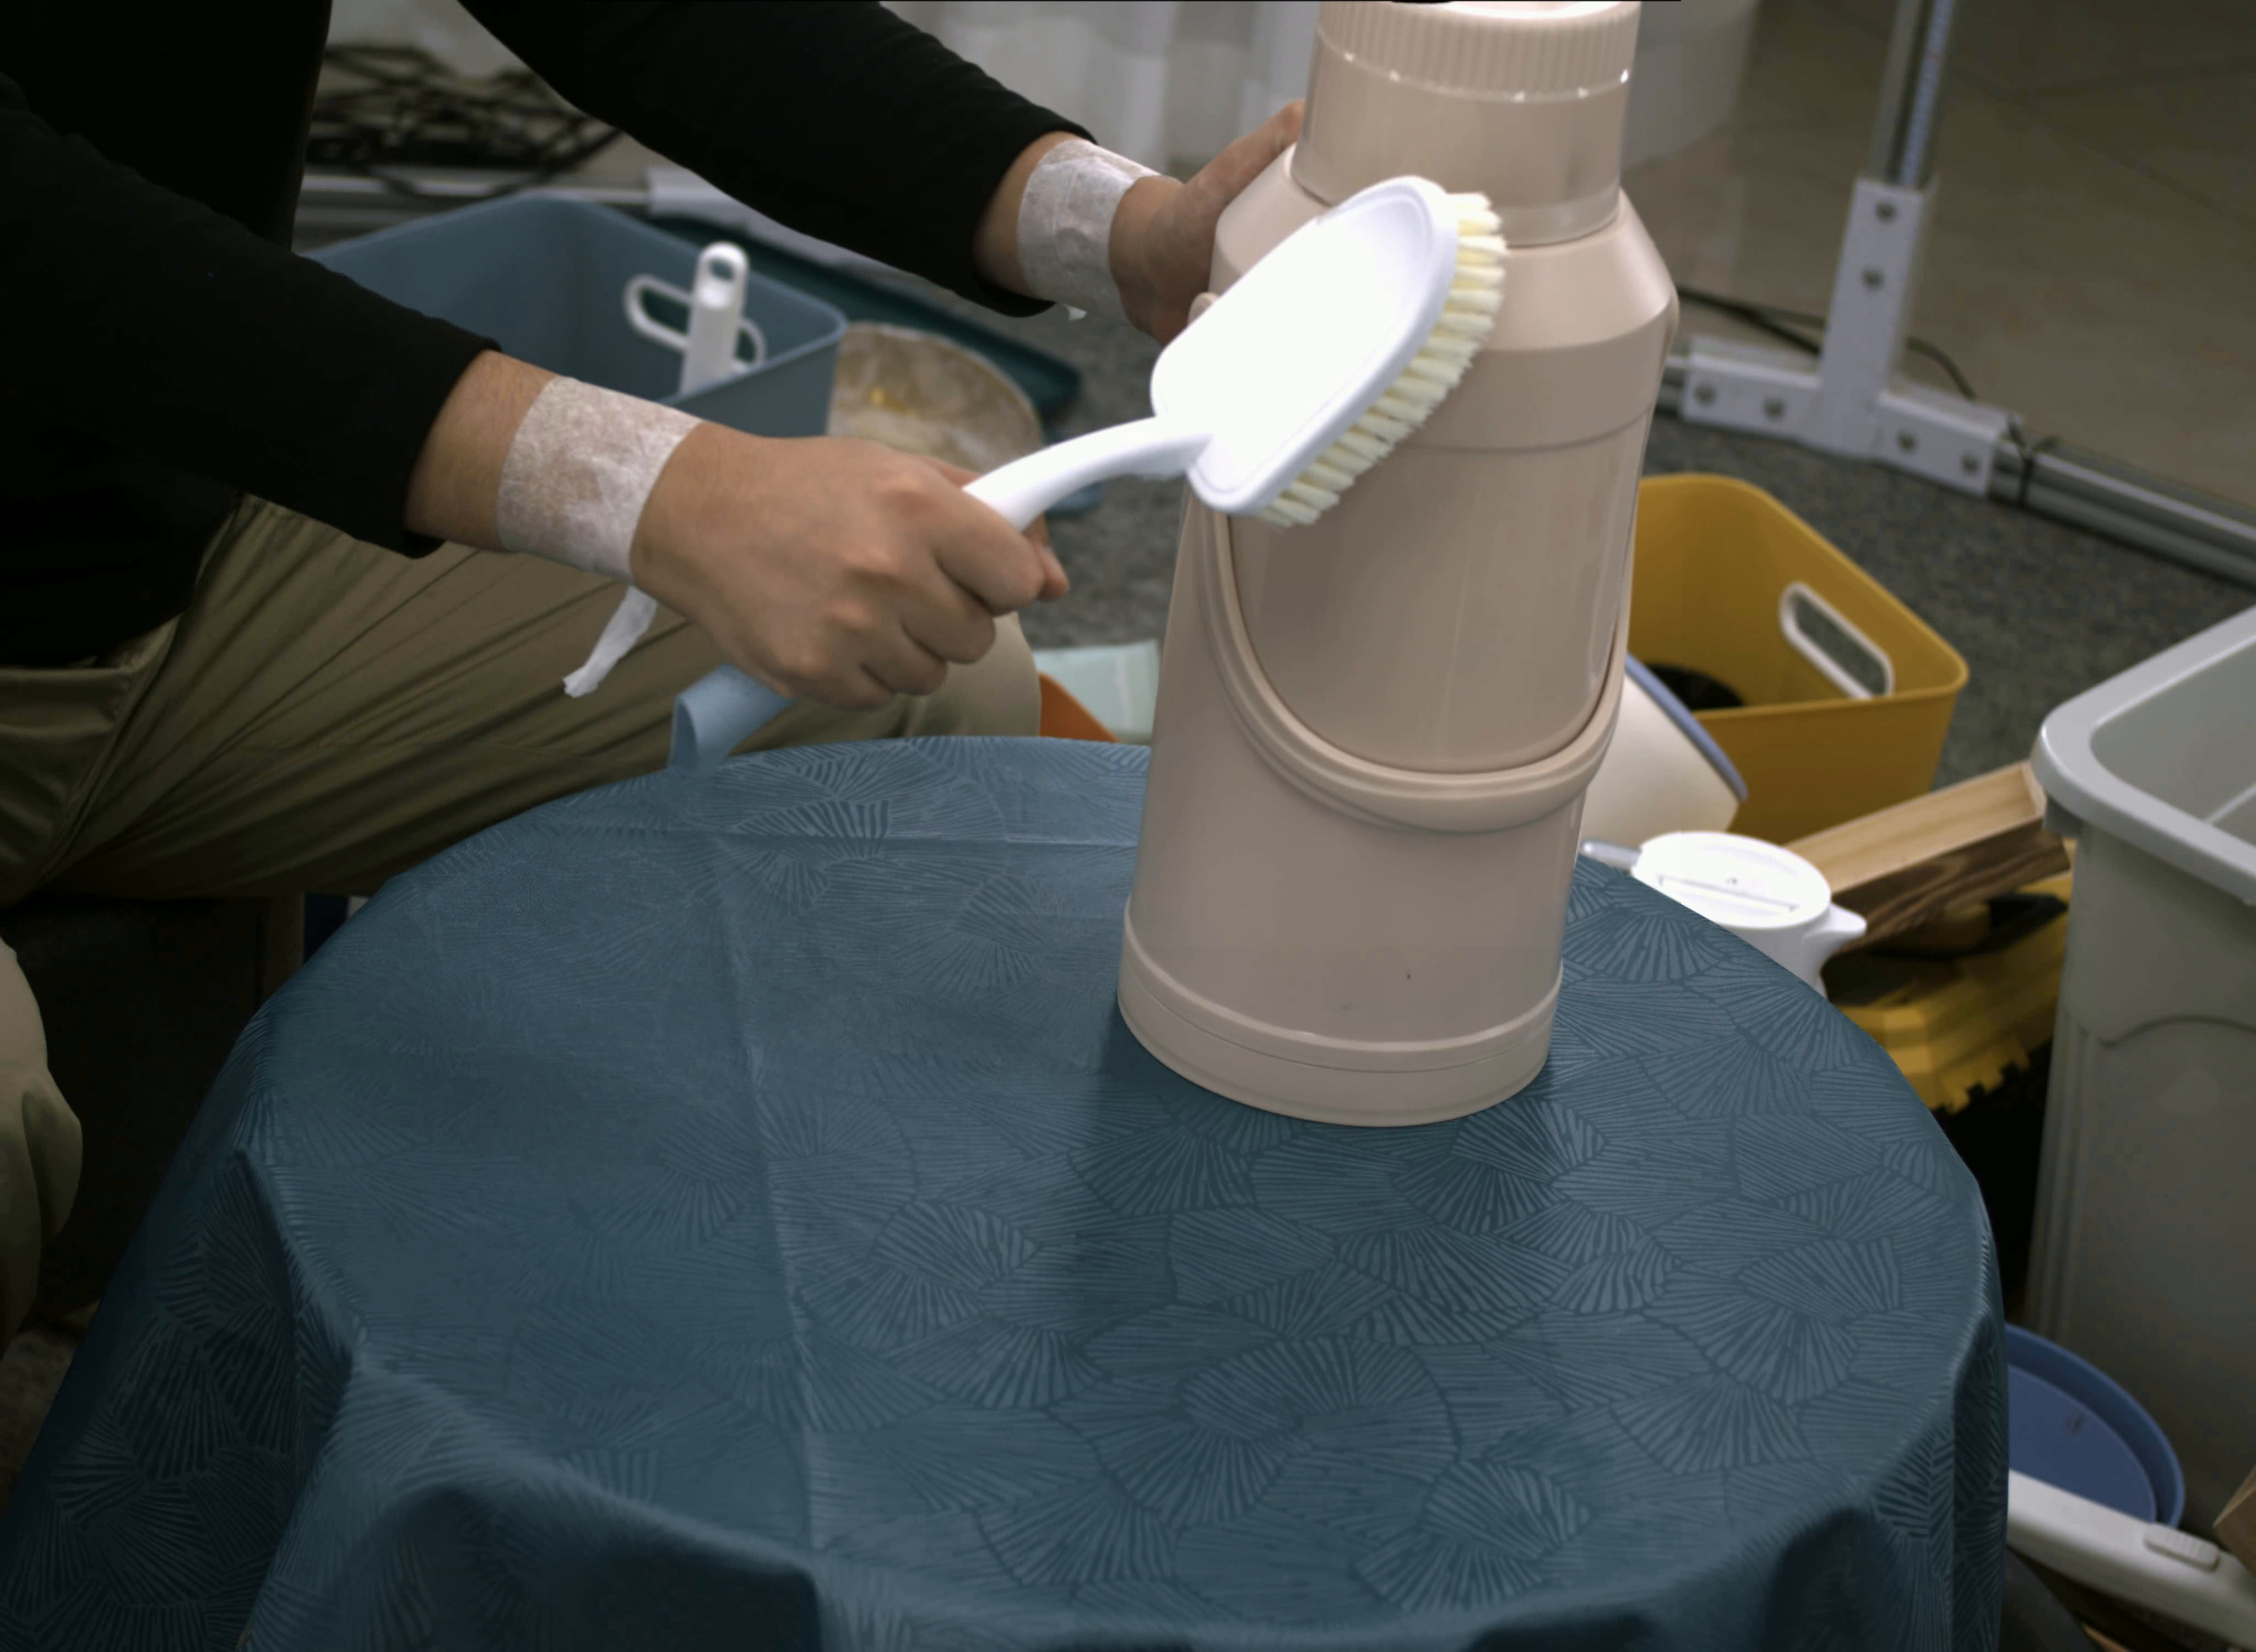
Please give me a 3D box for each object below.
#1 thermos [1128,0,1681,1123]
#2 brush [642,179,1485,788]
[{"bbox_3d":[0.093,-0.114,1.852,0.174,0.405,0.209,-7,30,-23],"label":"thermos"},{"bbox_3d":[-0.018,-0.103,1.733,0.325,0.084,0.083,-35,22,15],"label":"brush"}]
